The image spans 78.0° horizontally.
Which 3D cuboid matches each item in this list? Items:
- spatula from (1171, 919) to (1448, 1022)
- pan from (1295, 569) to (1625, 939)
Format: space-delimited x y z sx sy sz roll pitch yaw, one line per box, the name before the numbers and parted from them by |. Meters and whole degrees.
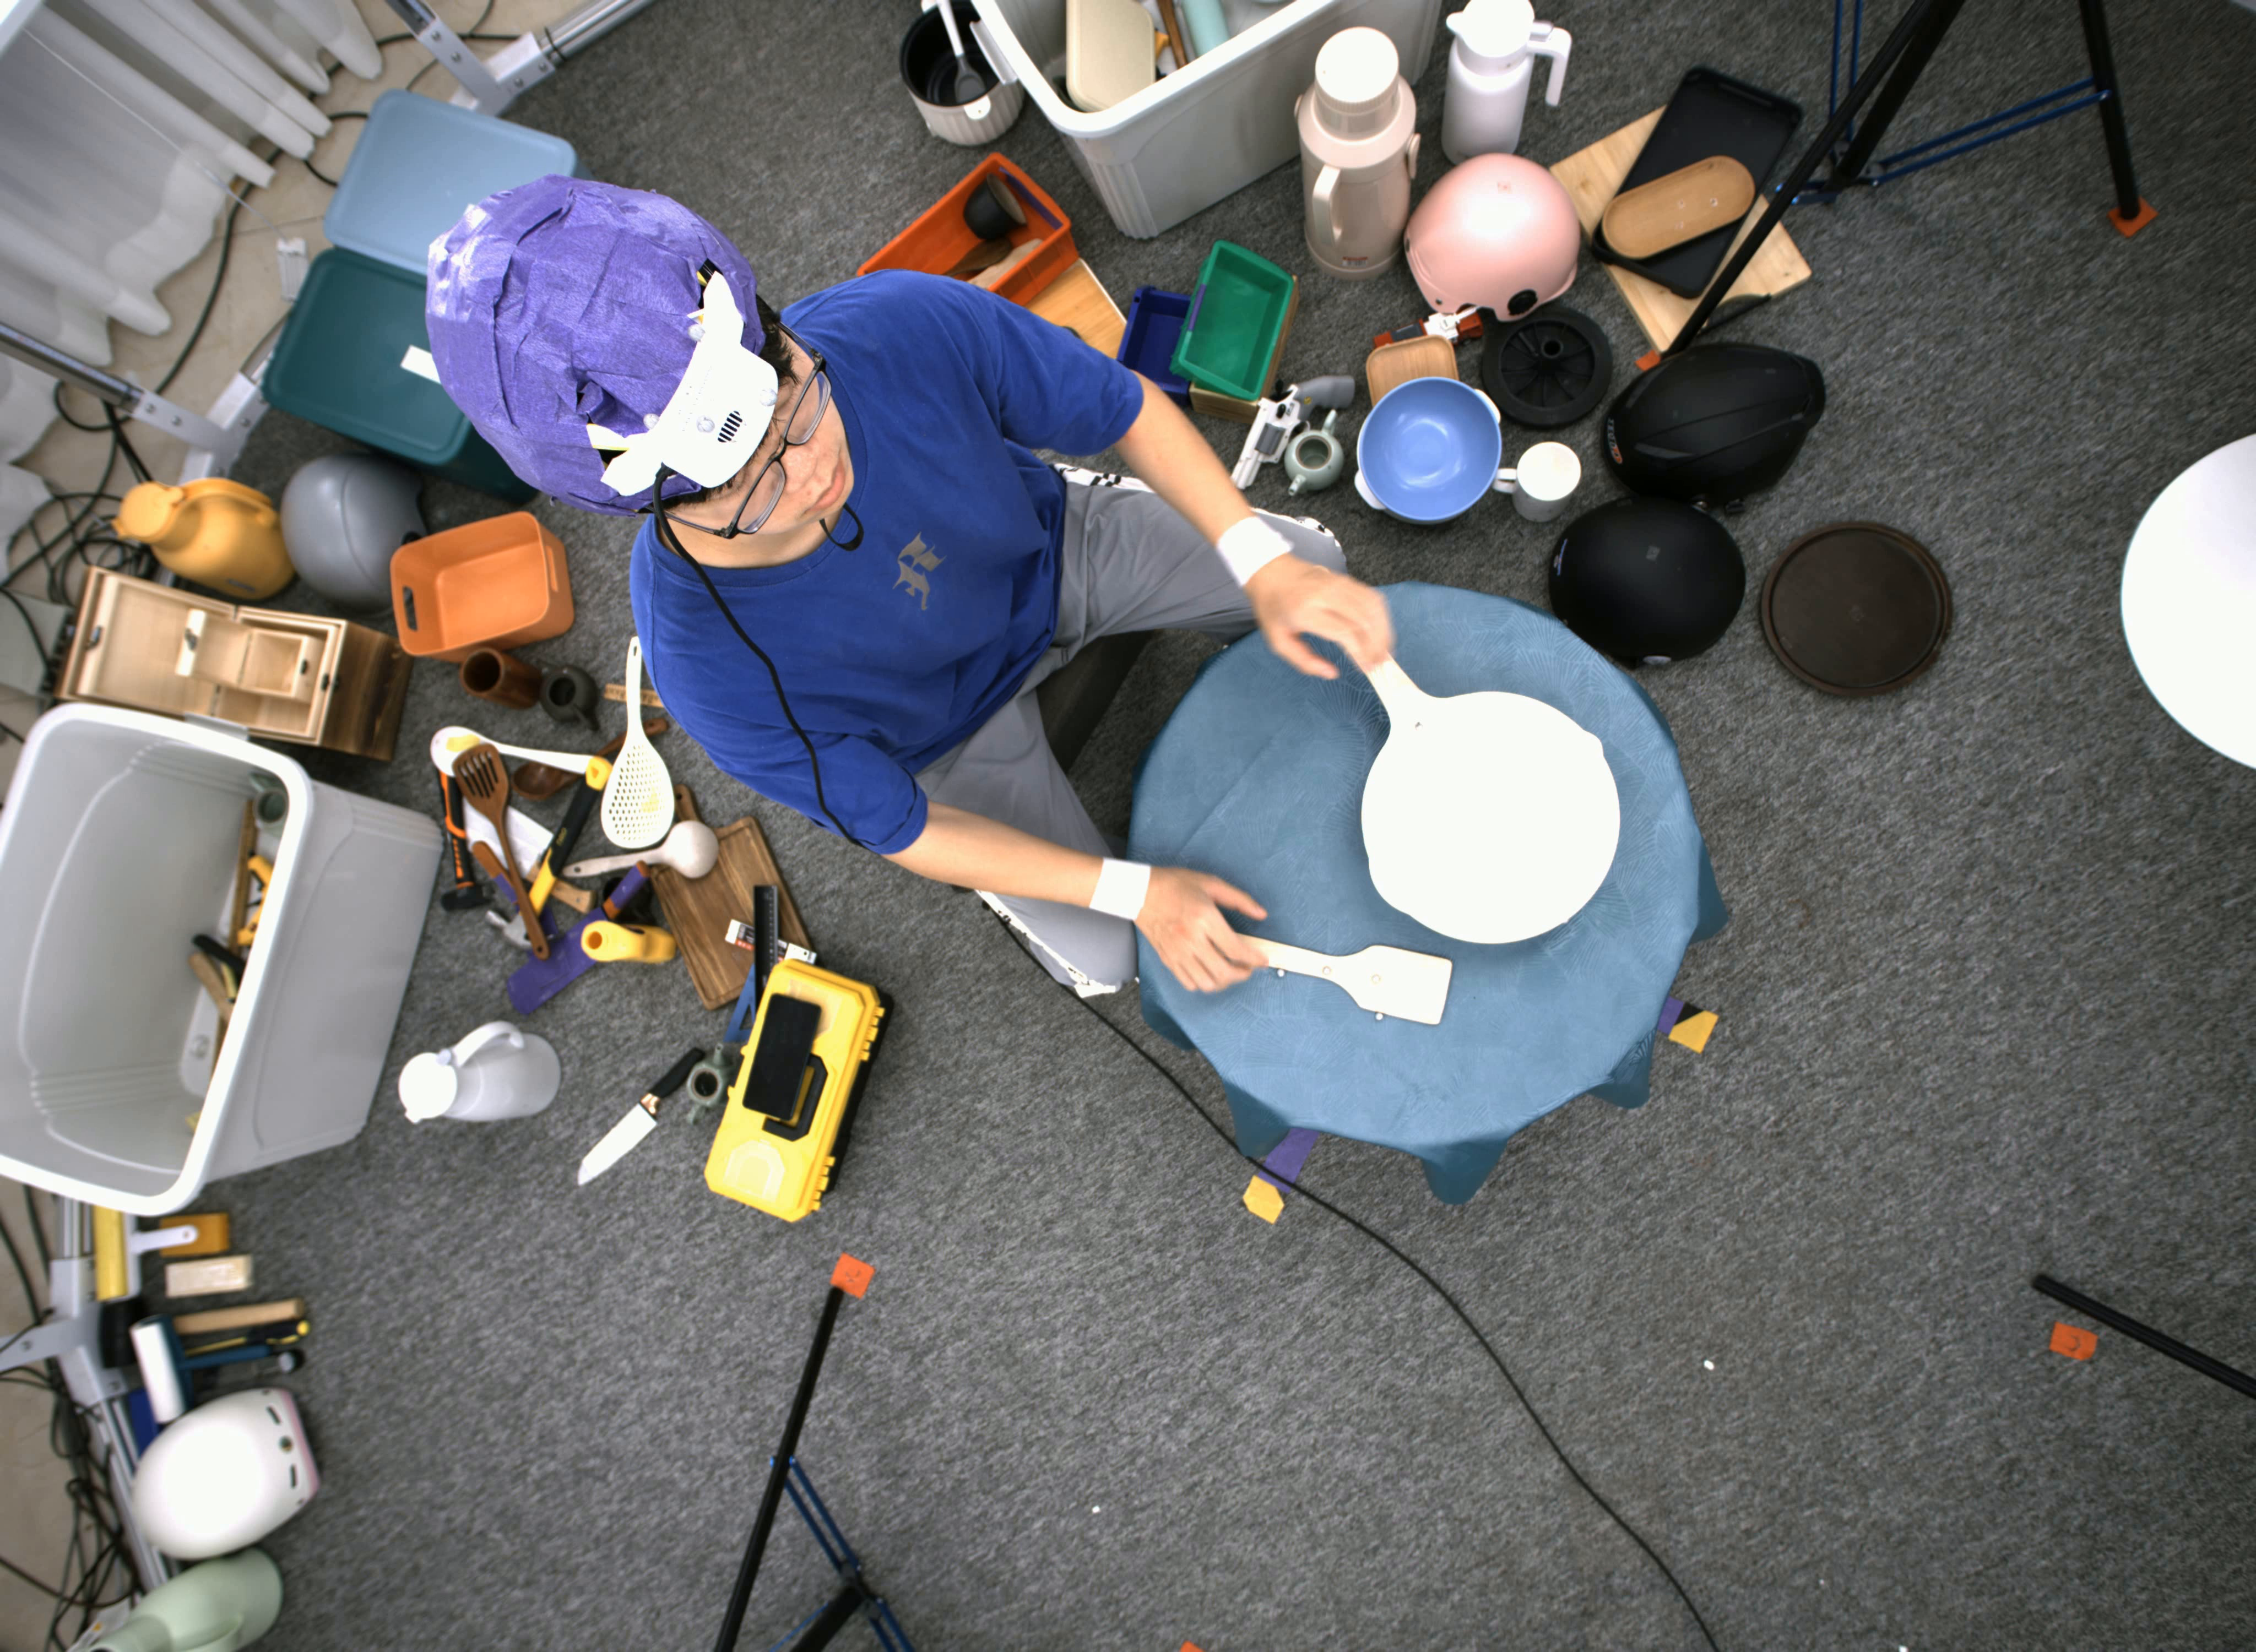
spatula | 0.187 0.142 1.465 0.293 0.010 0.072 12 90 11
pan | 0.316 -0.085 1.407 0.265 0.102 0.432 -37 81 8
